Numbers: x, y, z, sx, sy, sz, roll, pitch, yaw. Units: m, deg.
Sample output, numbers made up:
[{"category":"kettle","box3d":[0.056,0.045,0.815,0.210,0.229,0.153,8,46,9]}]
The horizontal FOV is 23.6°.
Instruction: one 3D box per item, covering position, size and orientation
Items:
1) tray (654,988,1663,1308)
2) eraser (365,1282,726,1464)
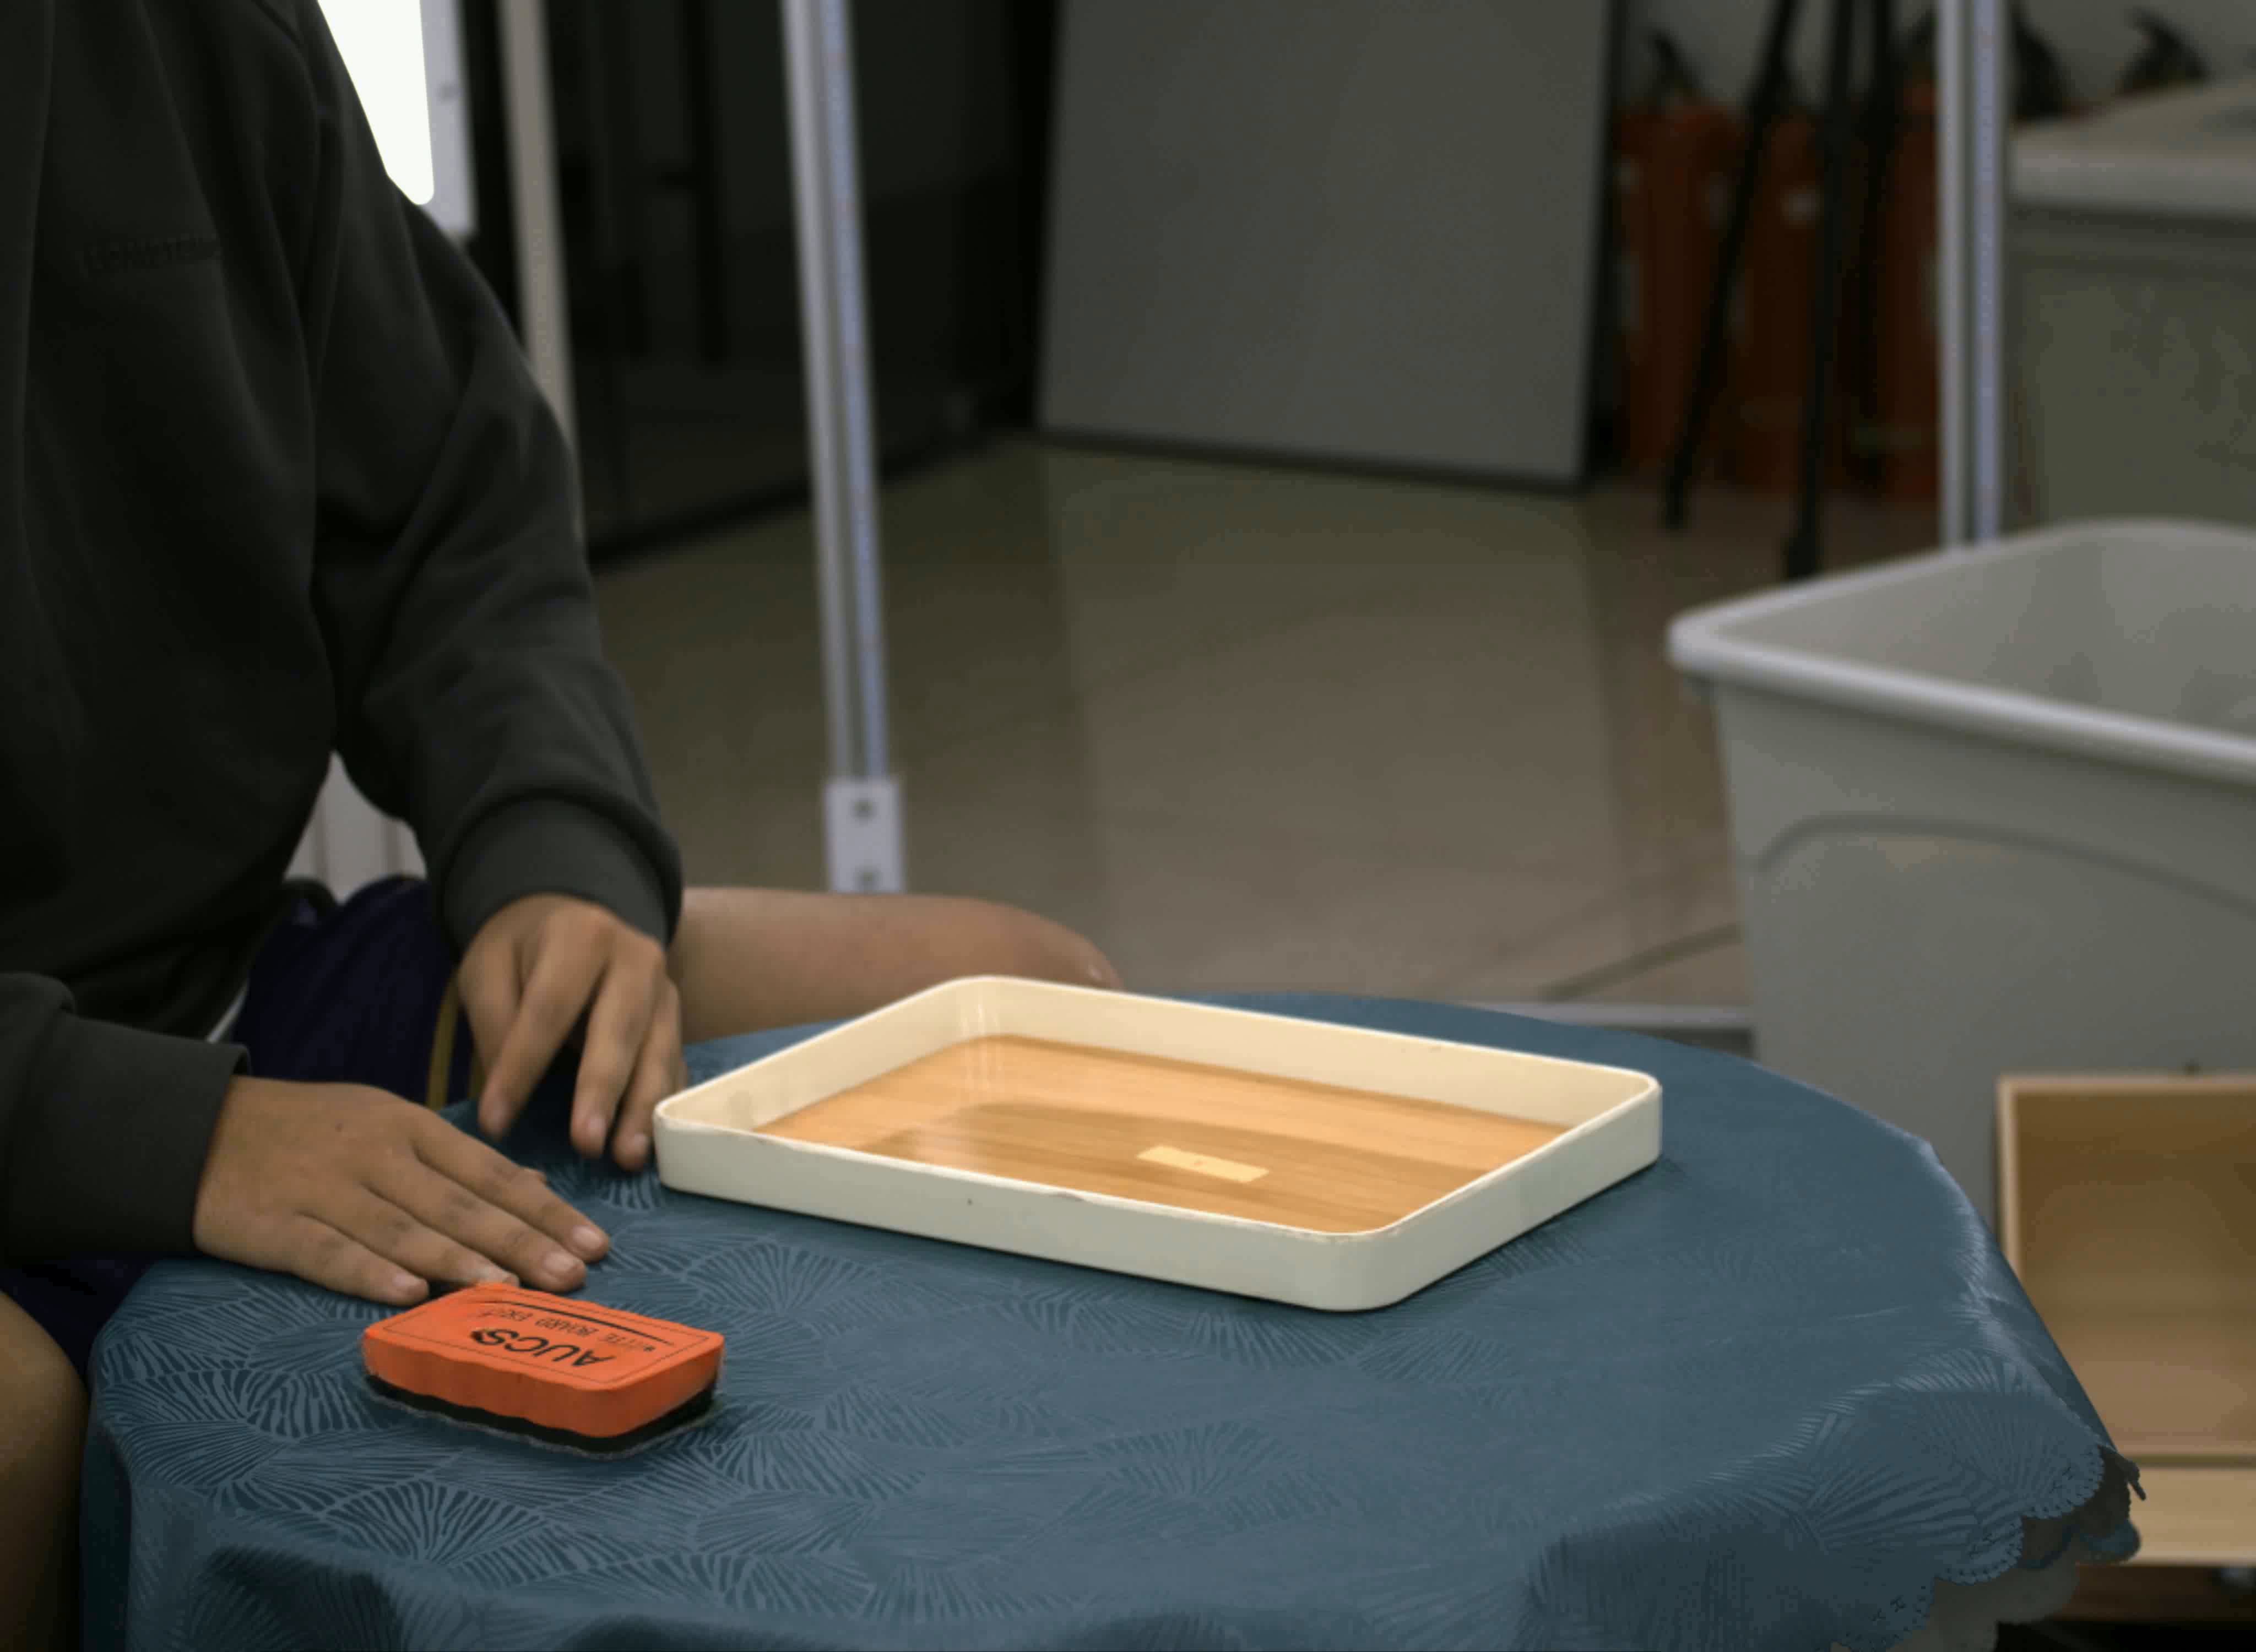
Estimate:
[{"category":"tray","box3d":[0.009,0.103,1.785,0.302,0.028,0.188,6,17,37]},{"category":"eraser","box3d":[-0.172,0.161,1.602,0.109,0.023,0.058,9,18,40]}]
